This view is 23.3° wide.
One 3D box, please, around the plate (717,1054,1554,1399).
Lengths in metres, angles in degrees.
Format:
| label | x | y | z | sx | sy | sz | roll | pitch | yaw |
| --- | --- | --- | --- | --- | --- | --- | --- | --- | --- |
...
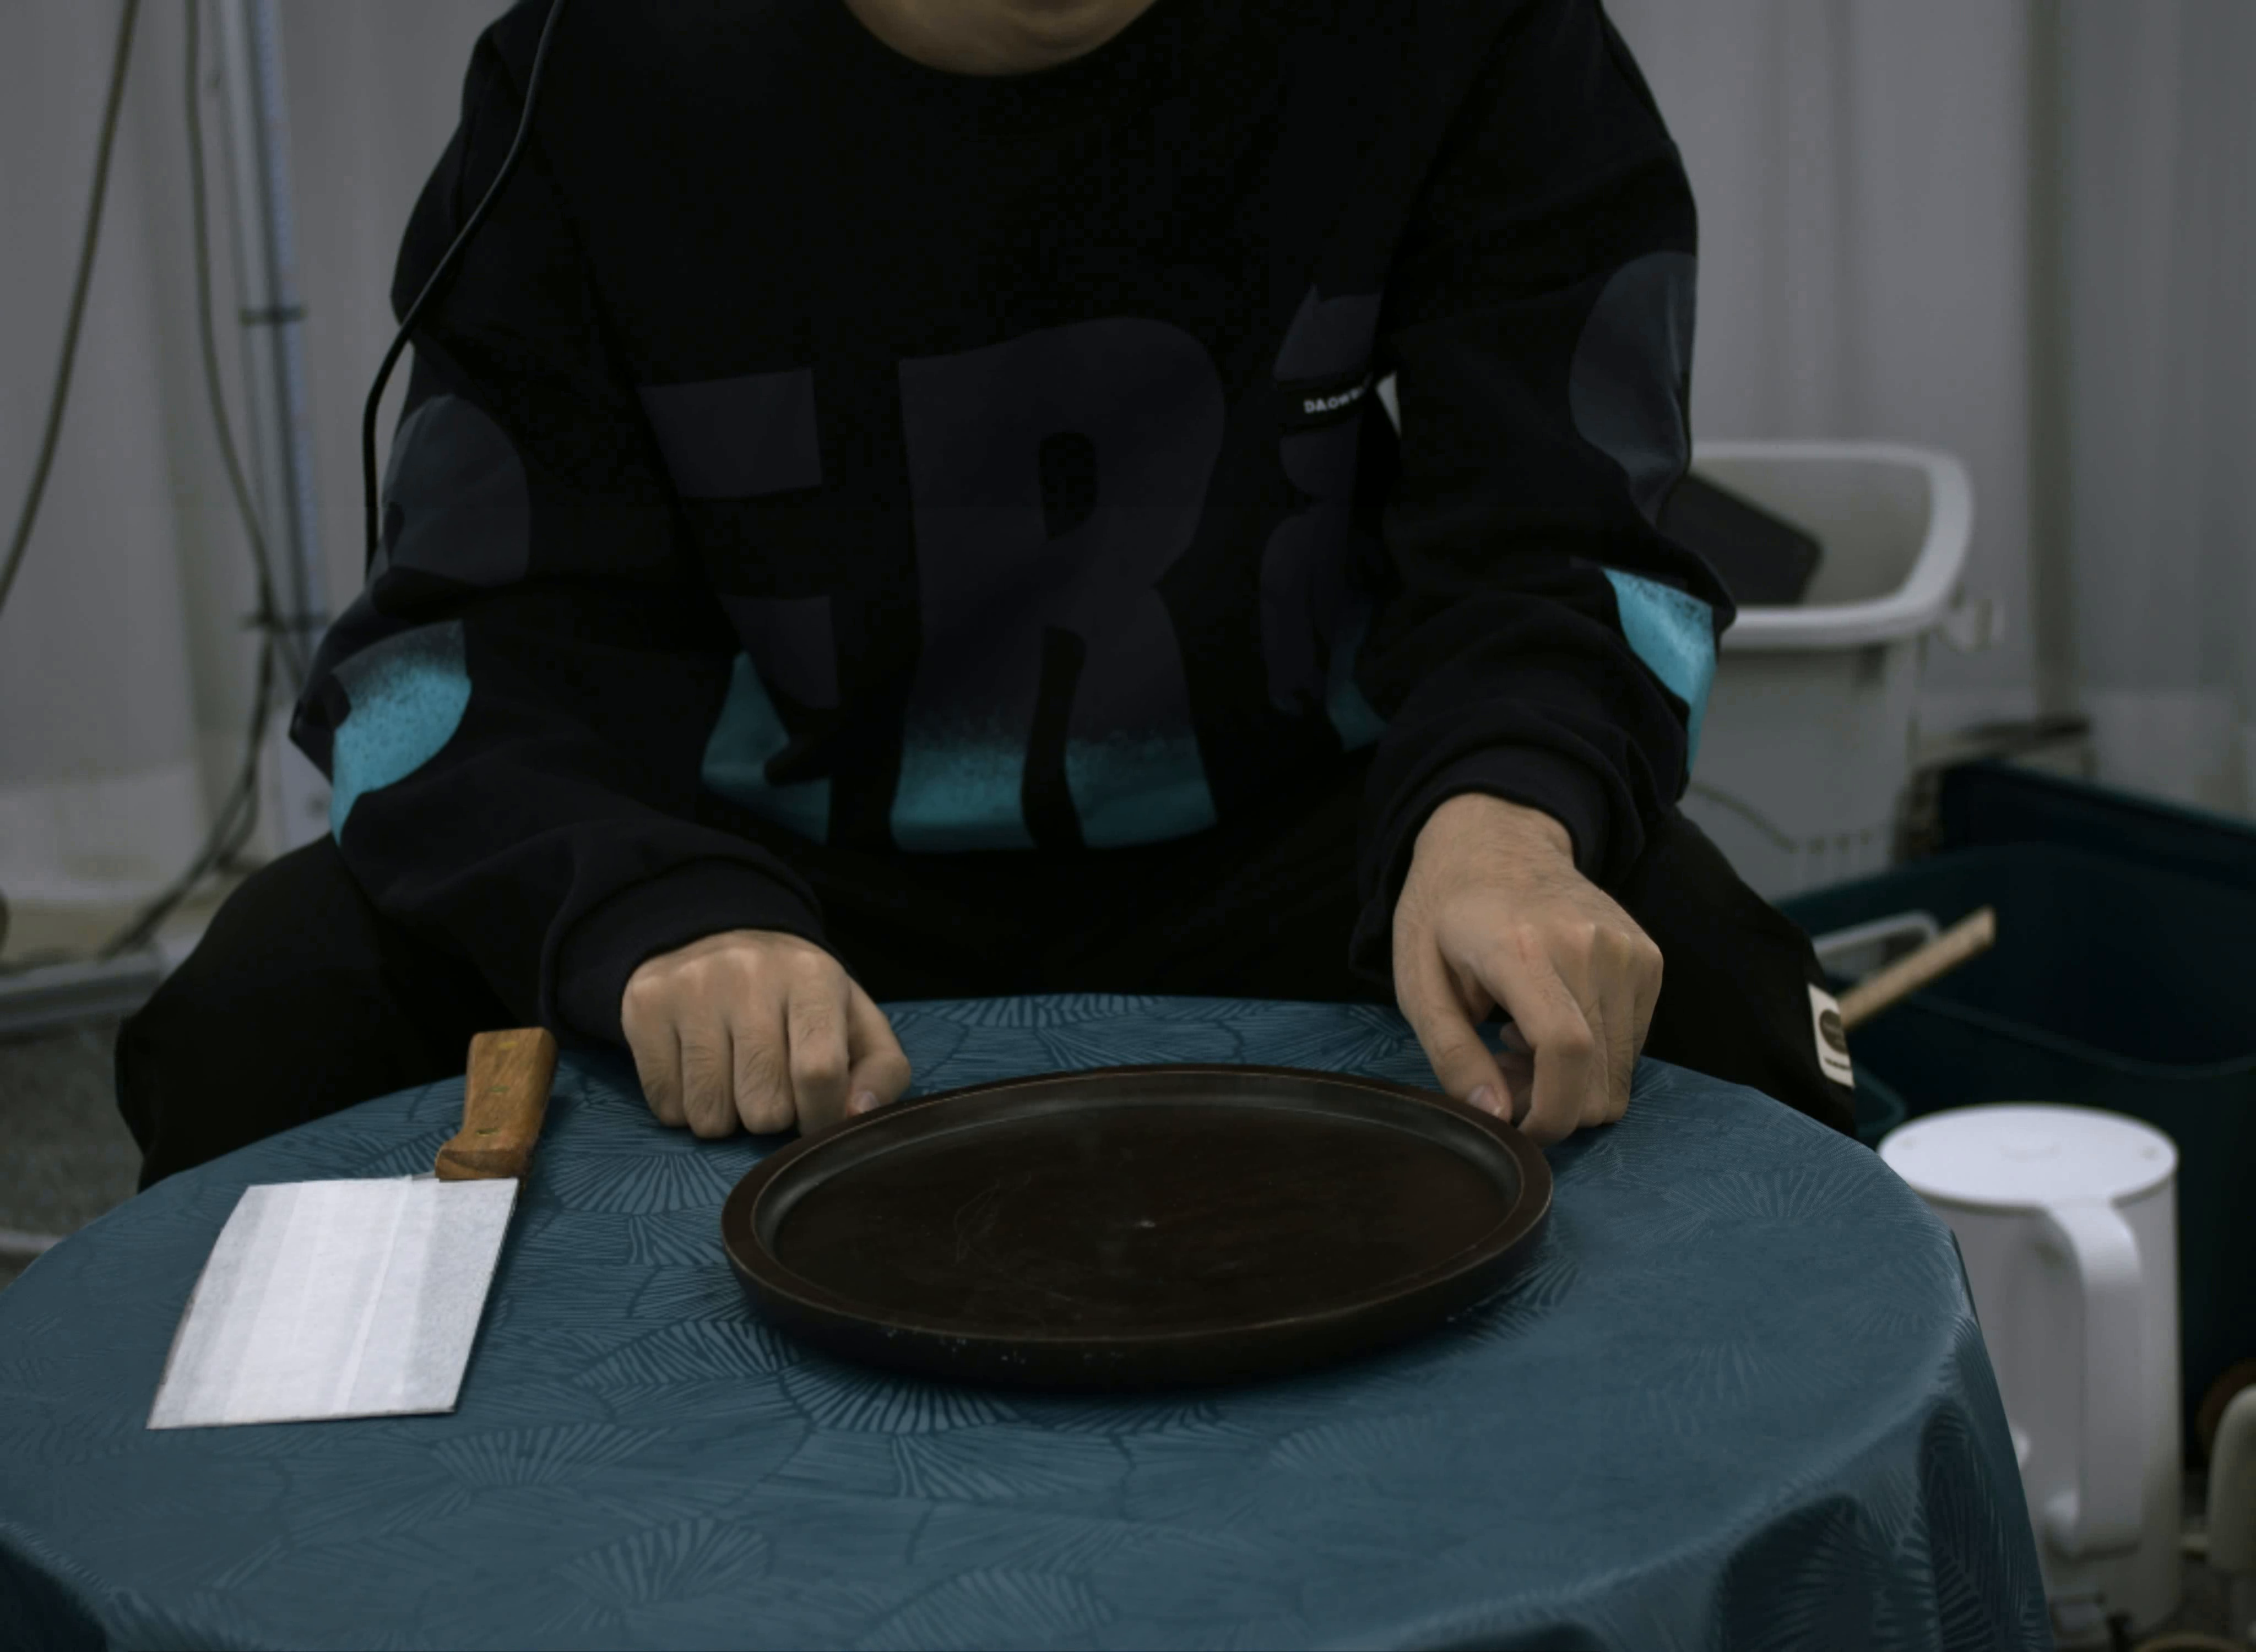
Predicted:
| label | x | y | z | sx | sy | sz | roll | pitch | yaw |
| --- | --- | --- | --- | --- | --- | --- | --- | --- | --- |
| plate | 0.003 | 0.120 | 1.648 | 0.254 | 0.029 | 0.256 | -4 | 16 | 1 |

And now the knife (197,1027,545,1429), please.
| label | x | y | z | sx | sy | sz | roll | pitch | yaw |
| --- | --- | --- | --- | --- | --- | --- | --- | --- | --- |
| knife | -0.234 | 0.123 | 1.701 | 0.092 | 0.021 | 0.308 | -4 | 17 | 1 |
